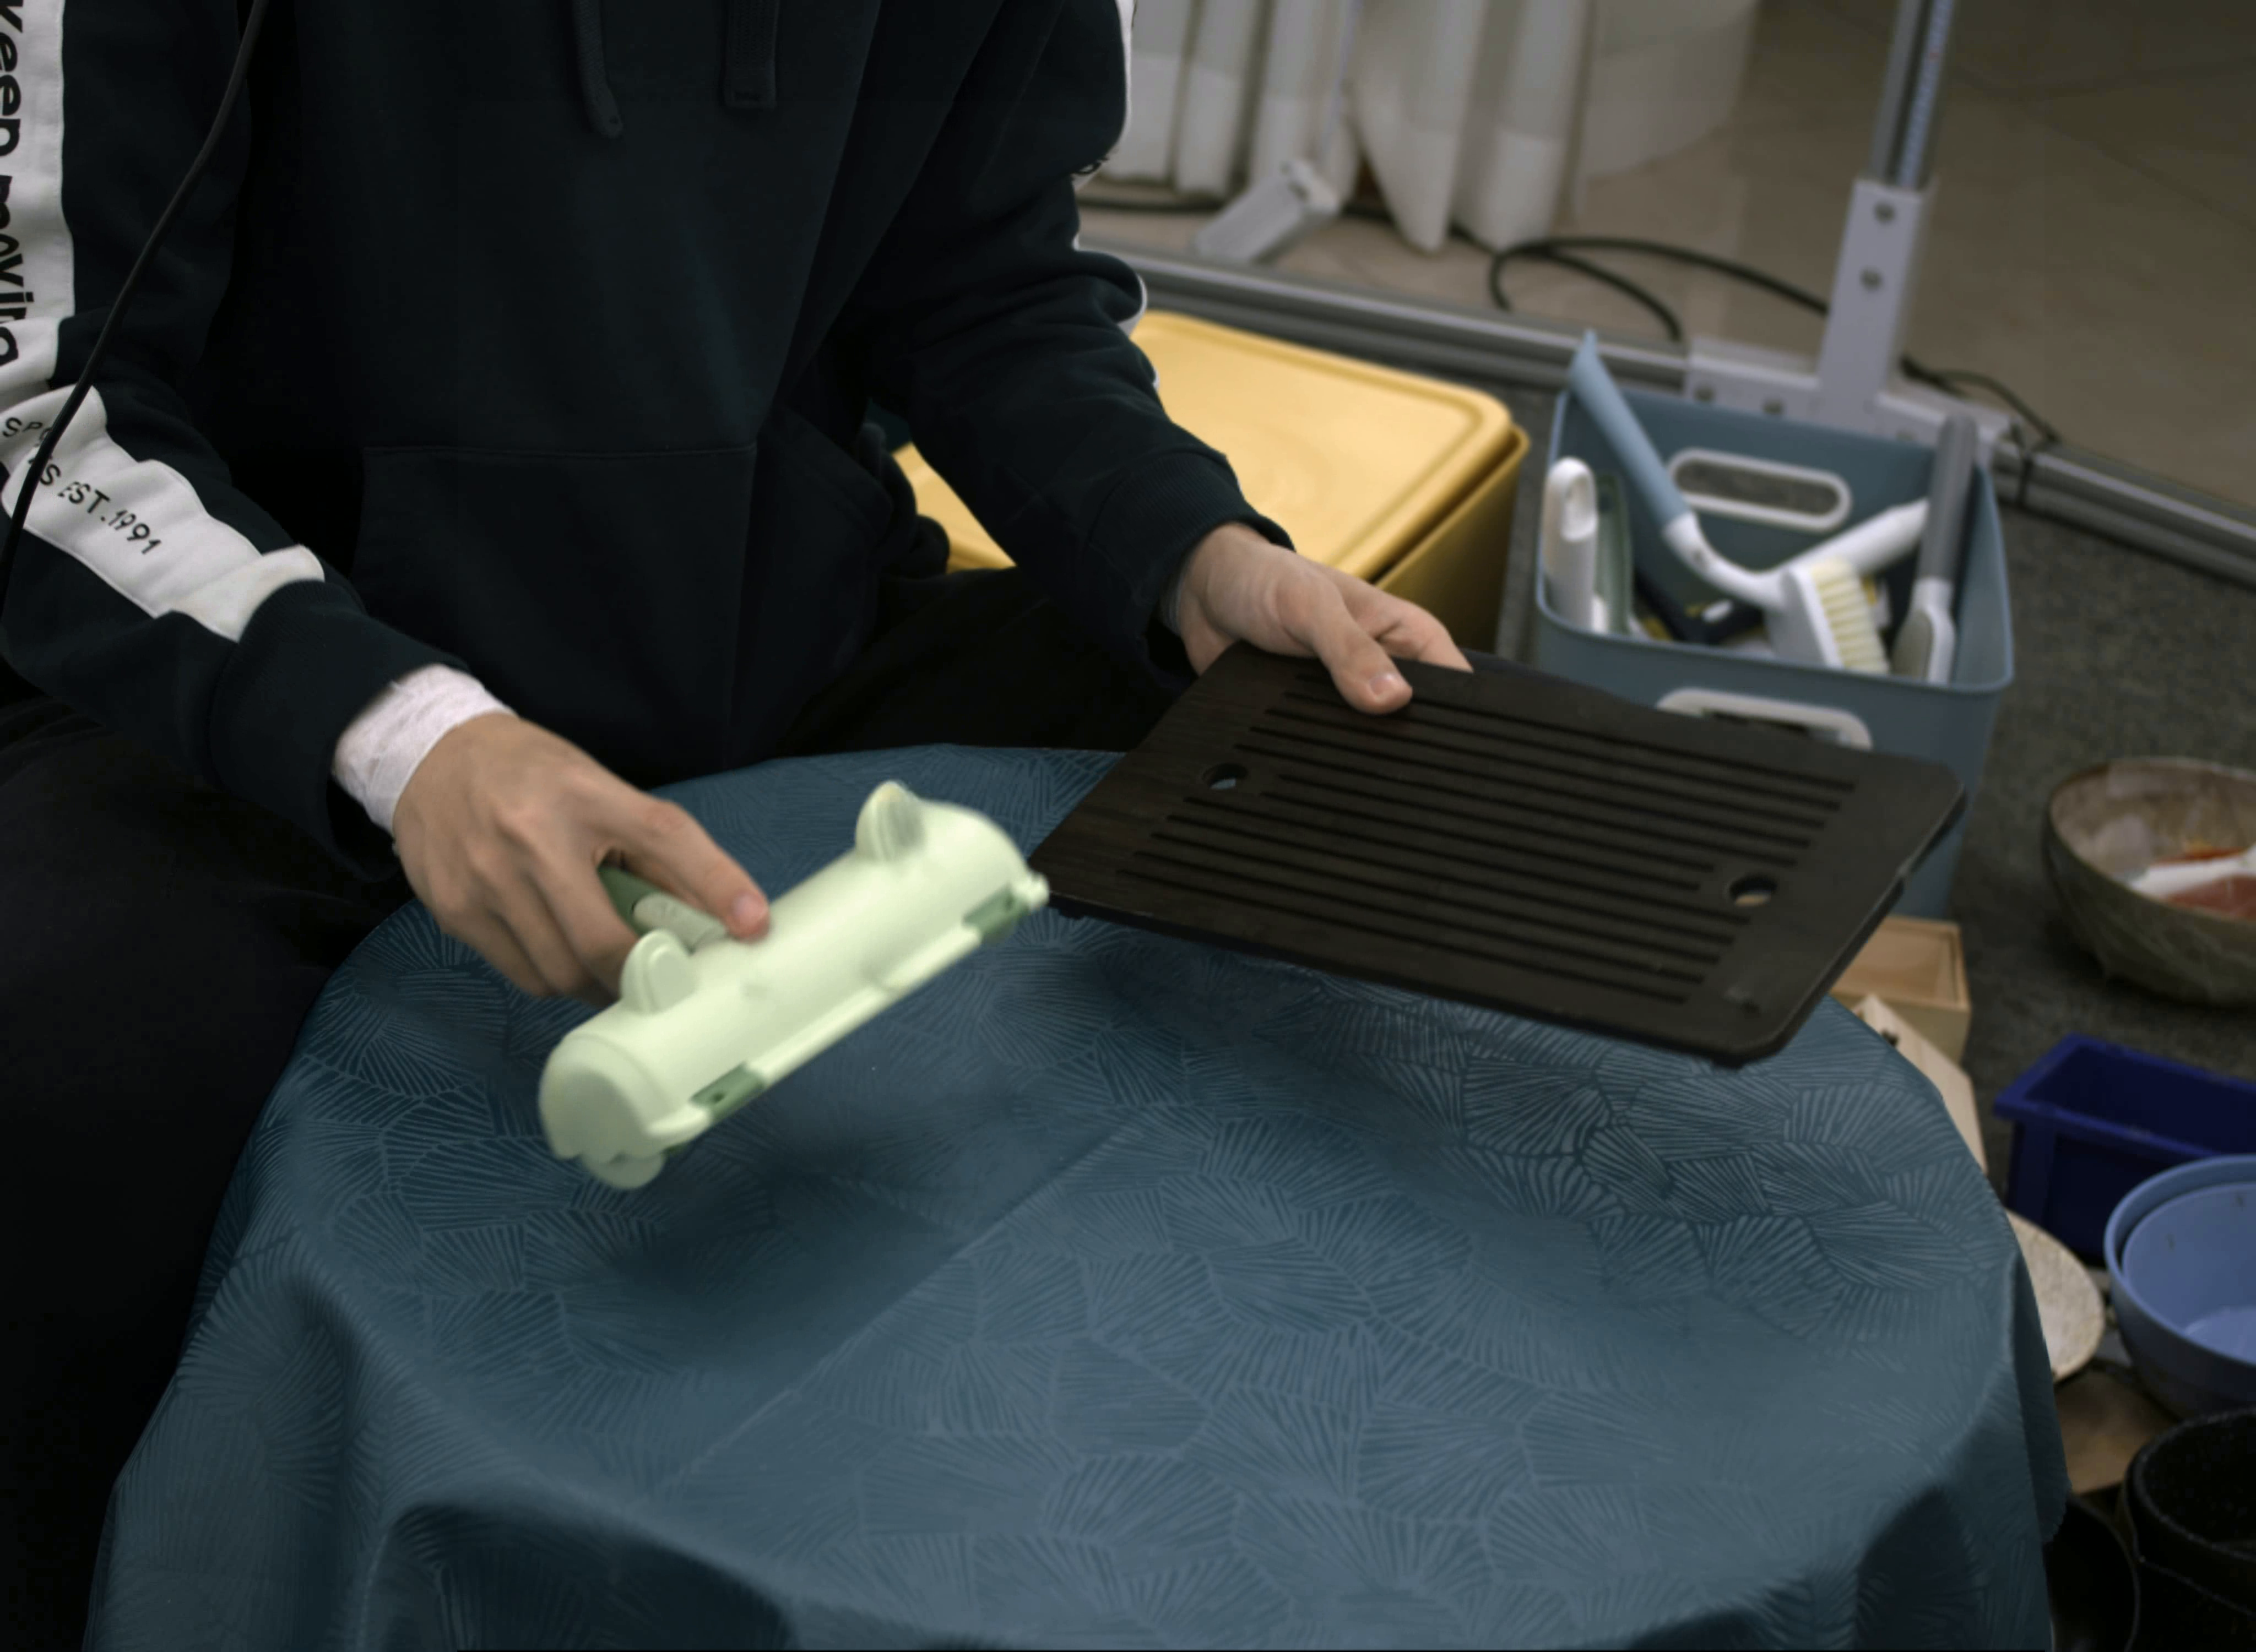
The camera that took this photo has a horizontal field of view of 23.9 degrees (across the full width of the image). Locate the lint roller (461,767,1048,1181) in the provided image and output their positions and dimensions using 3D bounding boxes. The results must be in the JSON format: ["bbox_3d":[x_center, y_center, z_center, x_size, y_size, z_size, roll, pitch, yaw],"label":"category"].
[{"bbox_3d":[-0.154,0.023,1.776,0.184,0.082,0.198,26,41,28],"label":"lint roller"}]

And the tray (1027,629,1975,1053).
[{"bbox_3d":[0.130,0.003,1.882,0.307,0.018,0.170,11,41,32],"label":"tray"}]
